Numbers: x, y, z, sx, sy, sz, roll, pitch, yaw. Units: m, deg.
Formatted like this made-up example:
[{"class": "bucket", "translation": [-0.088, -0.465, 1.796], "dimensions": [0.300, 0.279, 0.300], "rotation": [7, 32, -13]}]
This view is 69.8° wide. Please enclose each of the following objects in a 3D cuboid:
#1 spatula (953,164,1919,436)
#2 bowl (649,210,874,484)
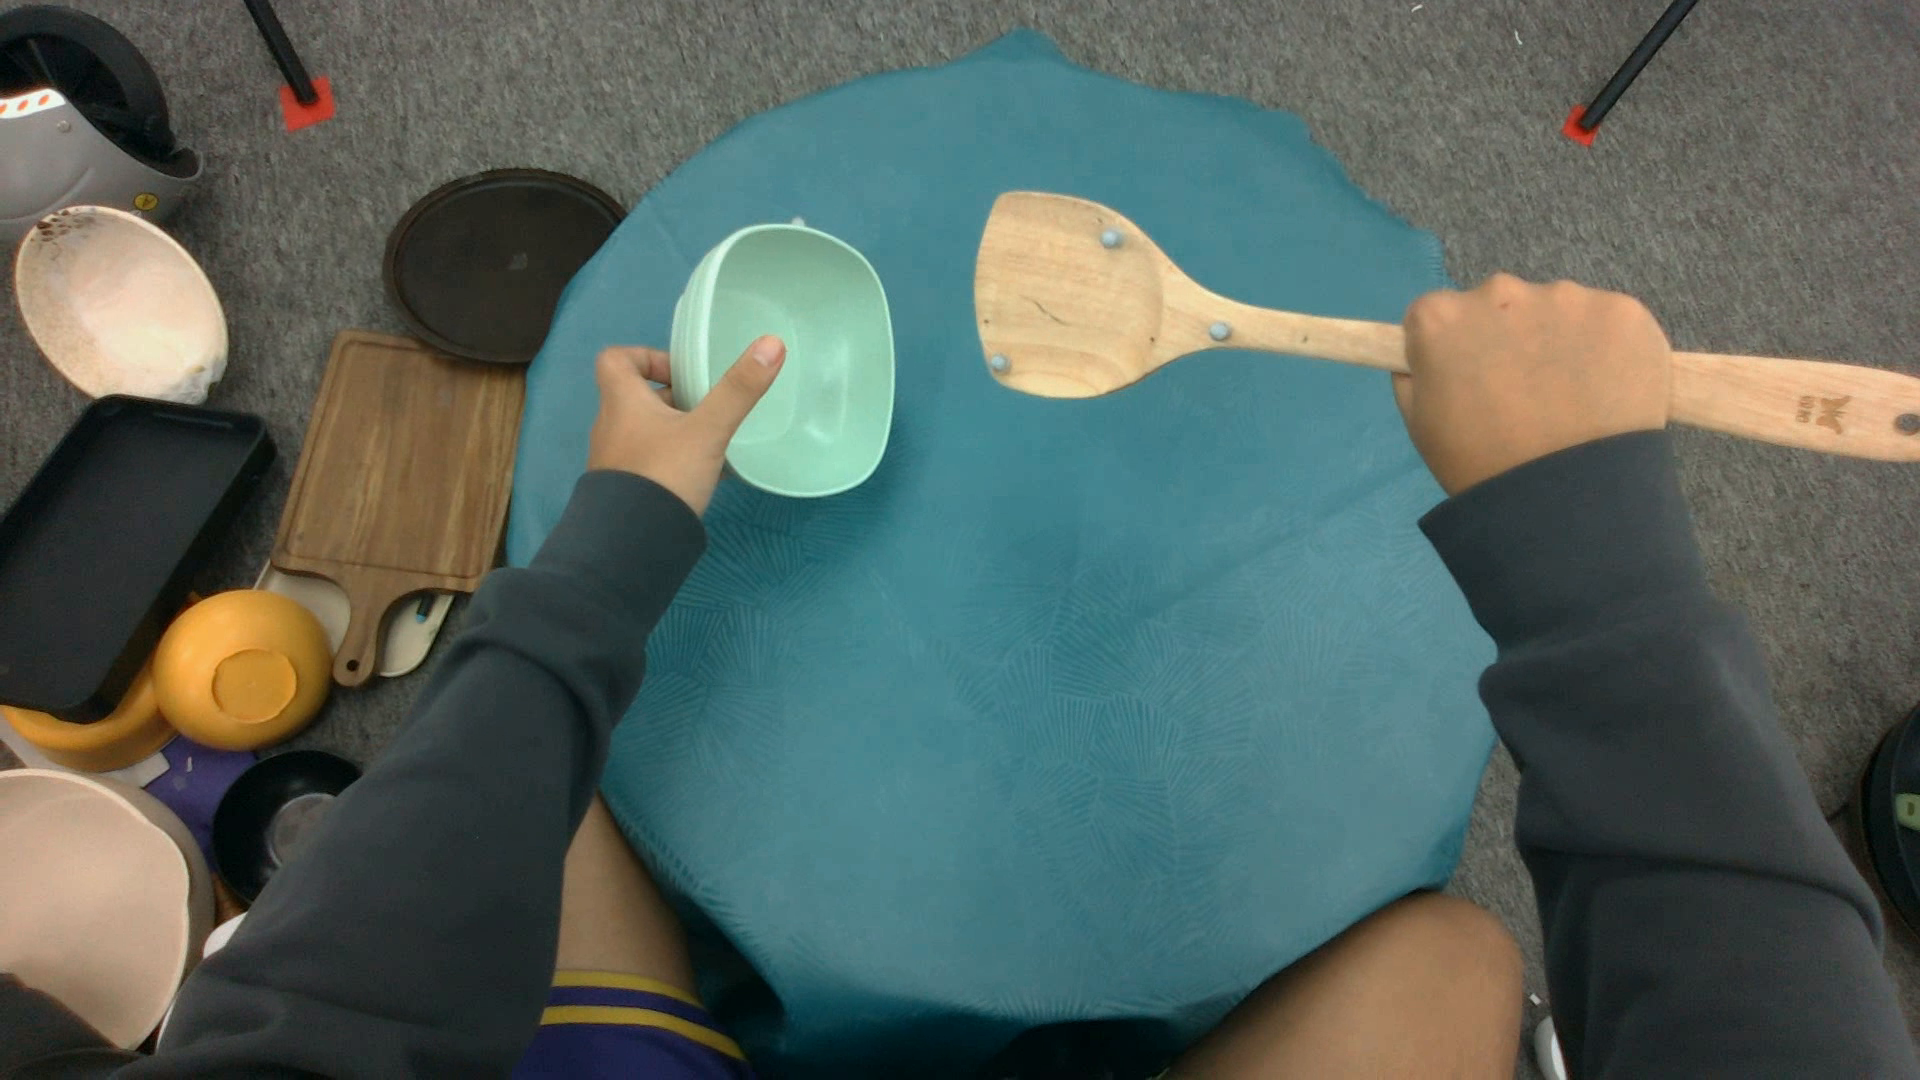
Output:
[{"class": "spatula", "translation": [0.164, -0.091, 0.556], "dimensions": [0.390, 0.095, 0.018], "rotation": [14, 27, 30]}, {"class": "bowl", "translation": [-0.111, -0.098, 0.720], "dimensions": [0.058, 0.151, 0.152], "rotation": [-1, 63, 37]}]
